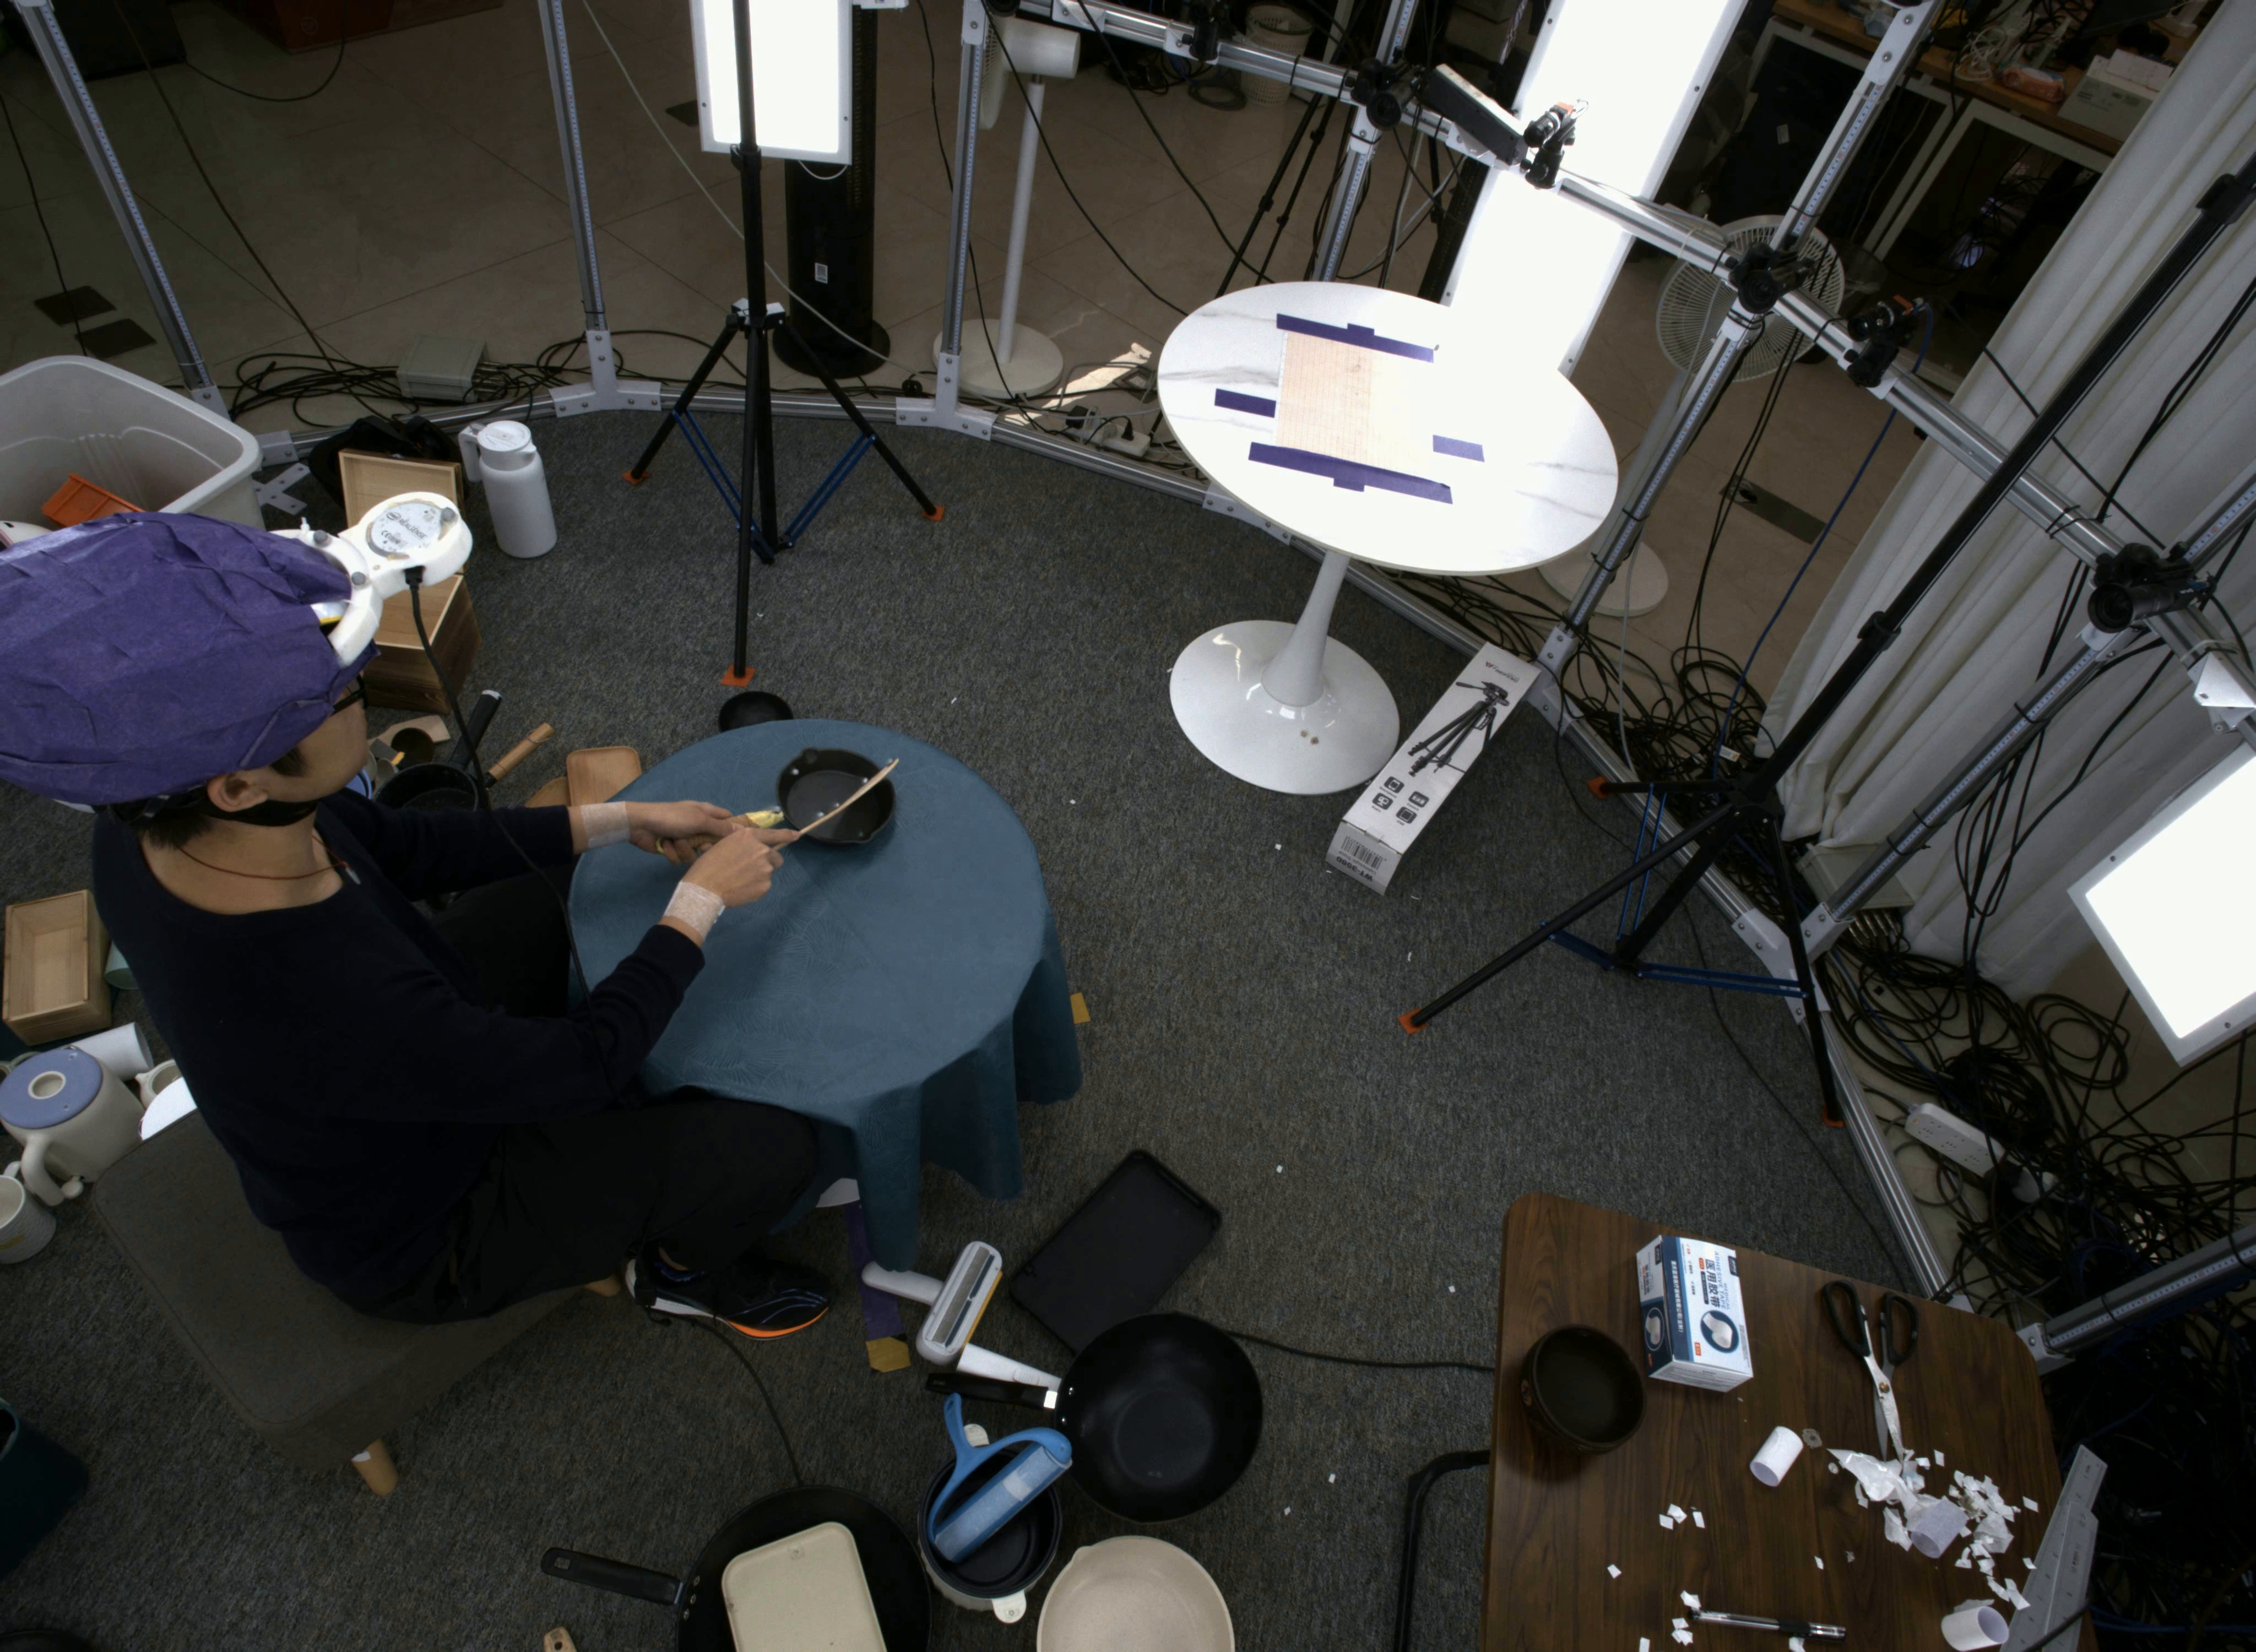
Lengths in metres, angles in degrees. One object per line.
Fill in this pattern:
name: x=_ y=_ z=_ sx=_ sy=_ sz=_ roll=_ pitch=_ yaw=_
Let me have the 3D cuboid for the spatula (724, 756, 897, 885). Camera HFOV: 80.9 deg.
spatula: x=-0.398 y=-0.007 z=1.625 sx=0.017 sy=0.079 sz=0.327 roll=53 pitch=36 yaw=-5

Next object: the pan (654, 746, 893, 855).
pan: x=-0.455 y=-0.015 z=1.664 sx=0.327 sy=0.050 sz=0.165 roll=-19 pitch=64 yaw=-35
